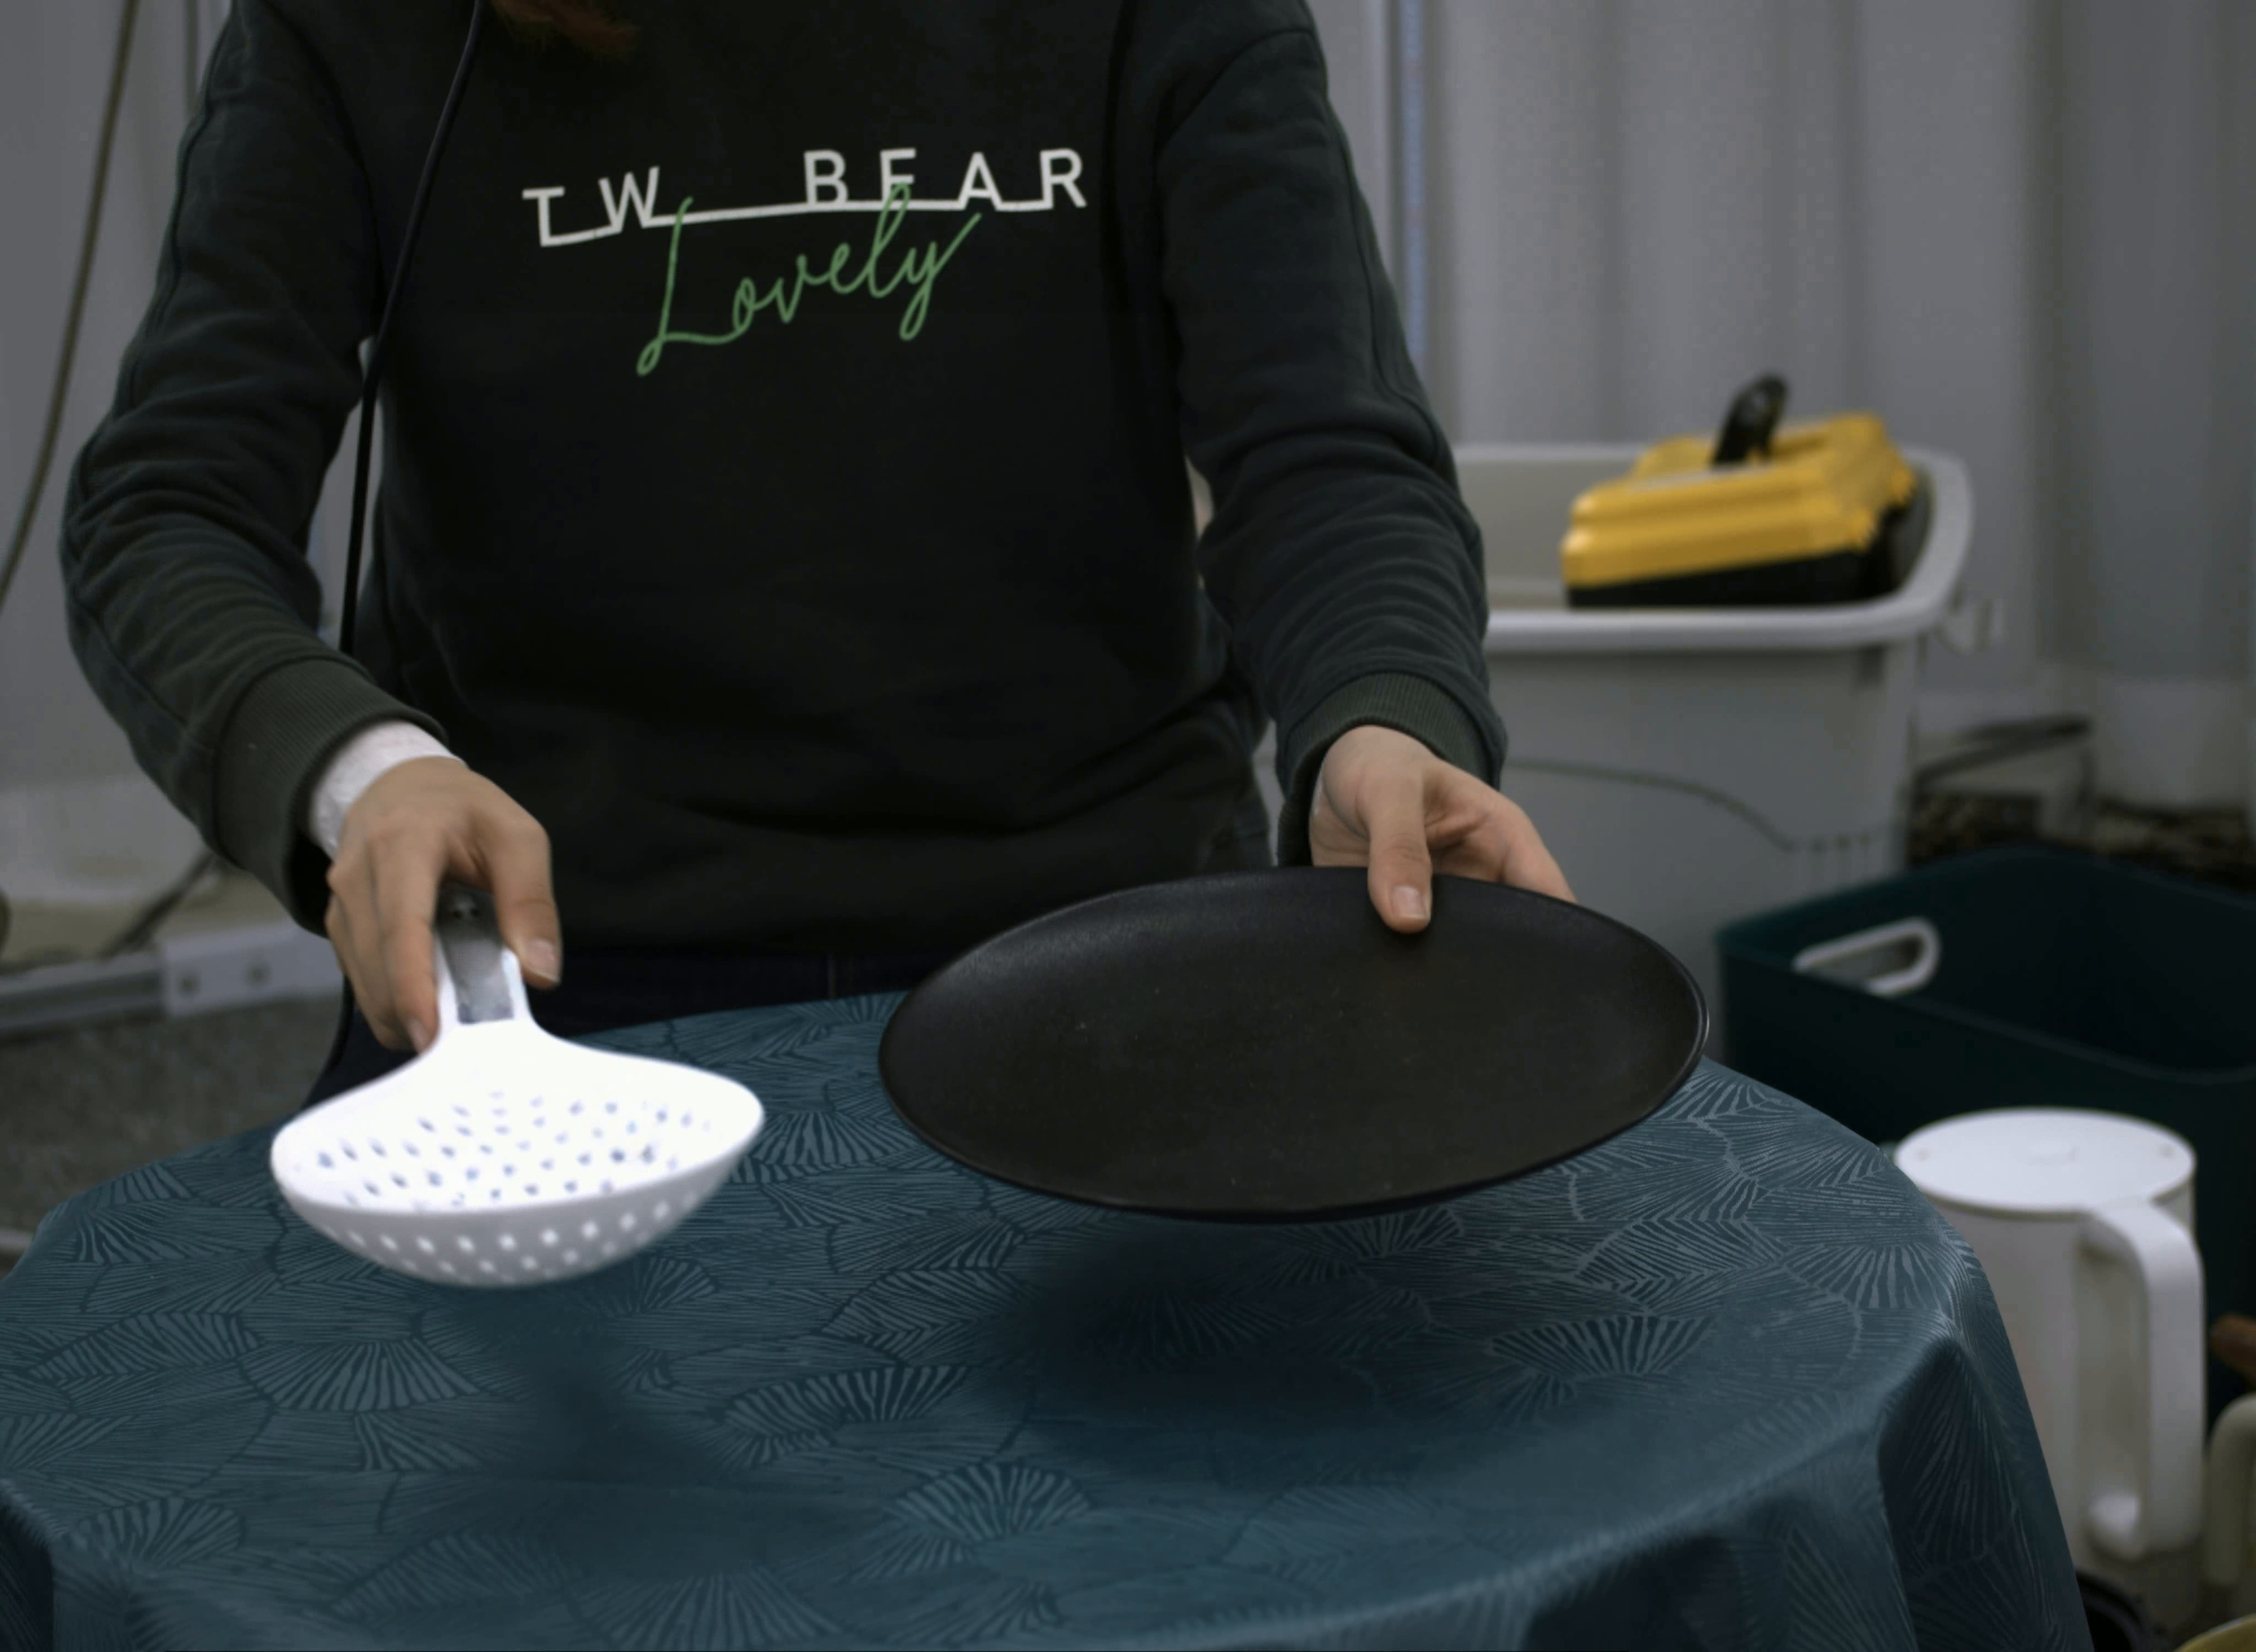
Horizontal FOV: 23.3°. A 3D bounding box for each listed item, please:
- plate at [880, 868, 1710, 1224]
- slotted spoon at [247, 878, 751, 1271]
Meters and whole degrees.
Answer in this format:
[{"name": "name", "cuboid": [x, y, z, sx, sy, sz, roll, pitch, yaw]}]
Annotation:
[{"name": "plate", "cuboid": [0.049, 0.067, 1.602, 0.243, 0.023, 0.247, -3, 21, 1]}, {"name": "slotted spoon", "cuboid": [-0.186, 0.063, 1.581, 0.135, 0.045, 0.353, -5, 18, -8]}]
